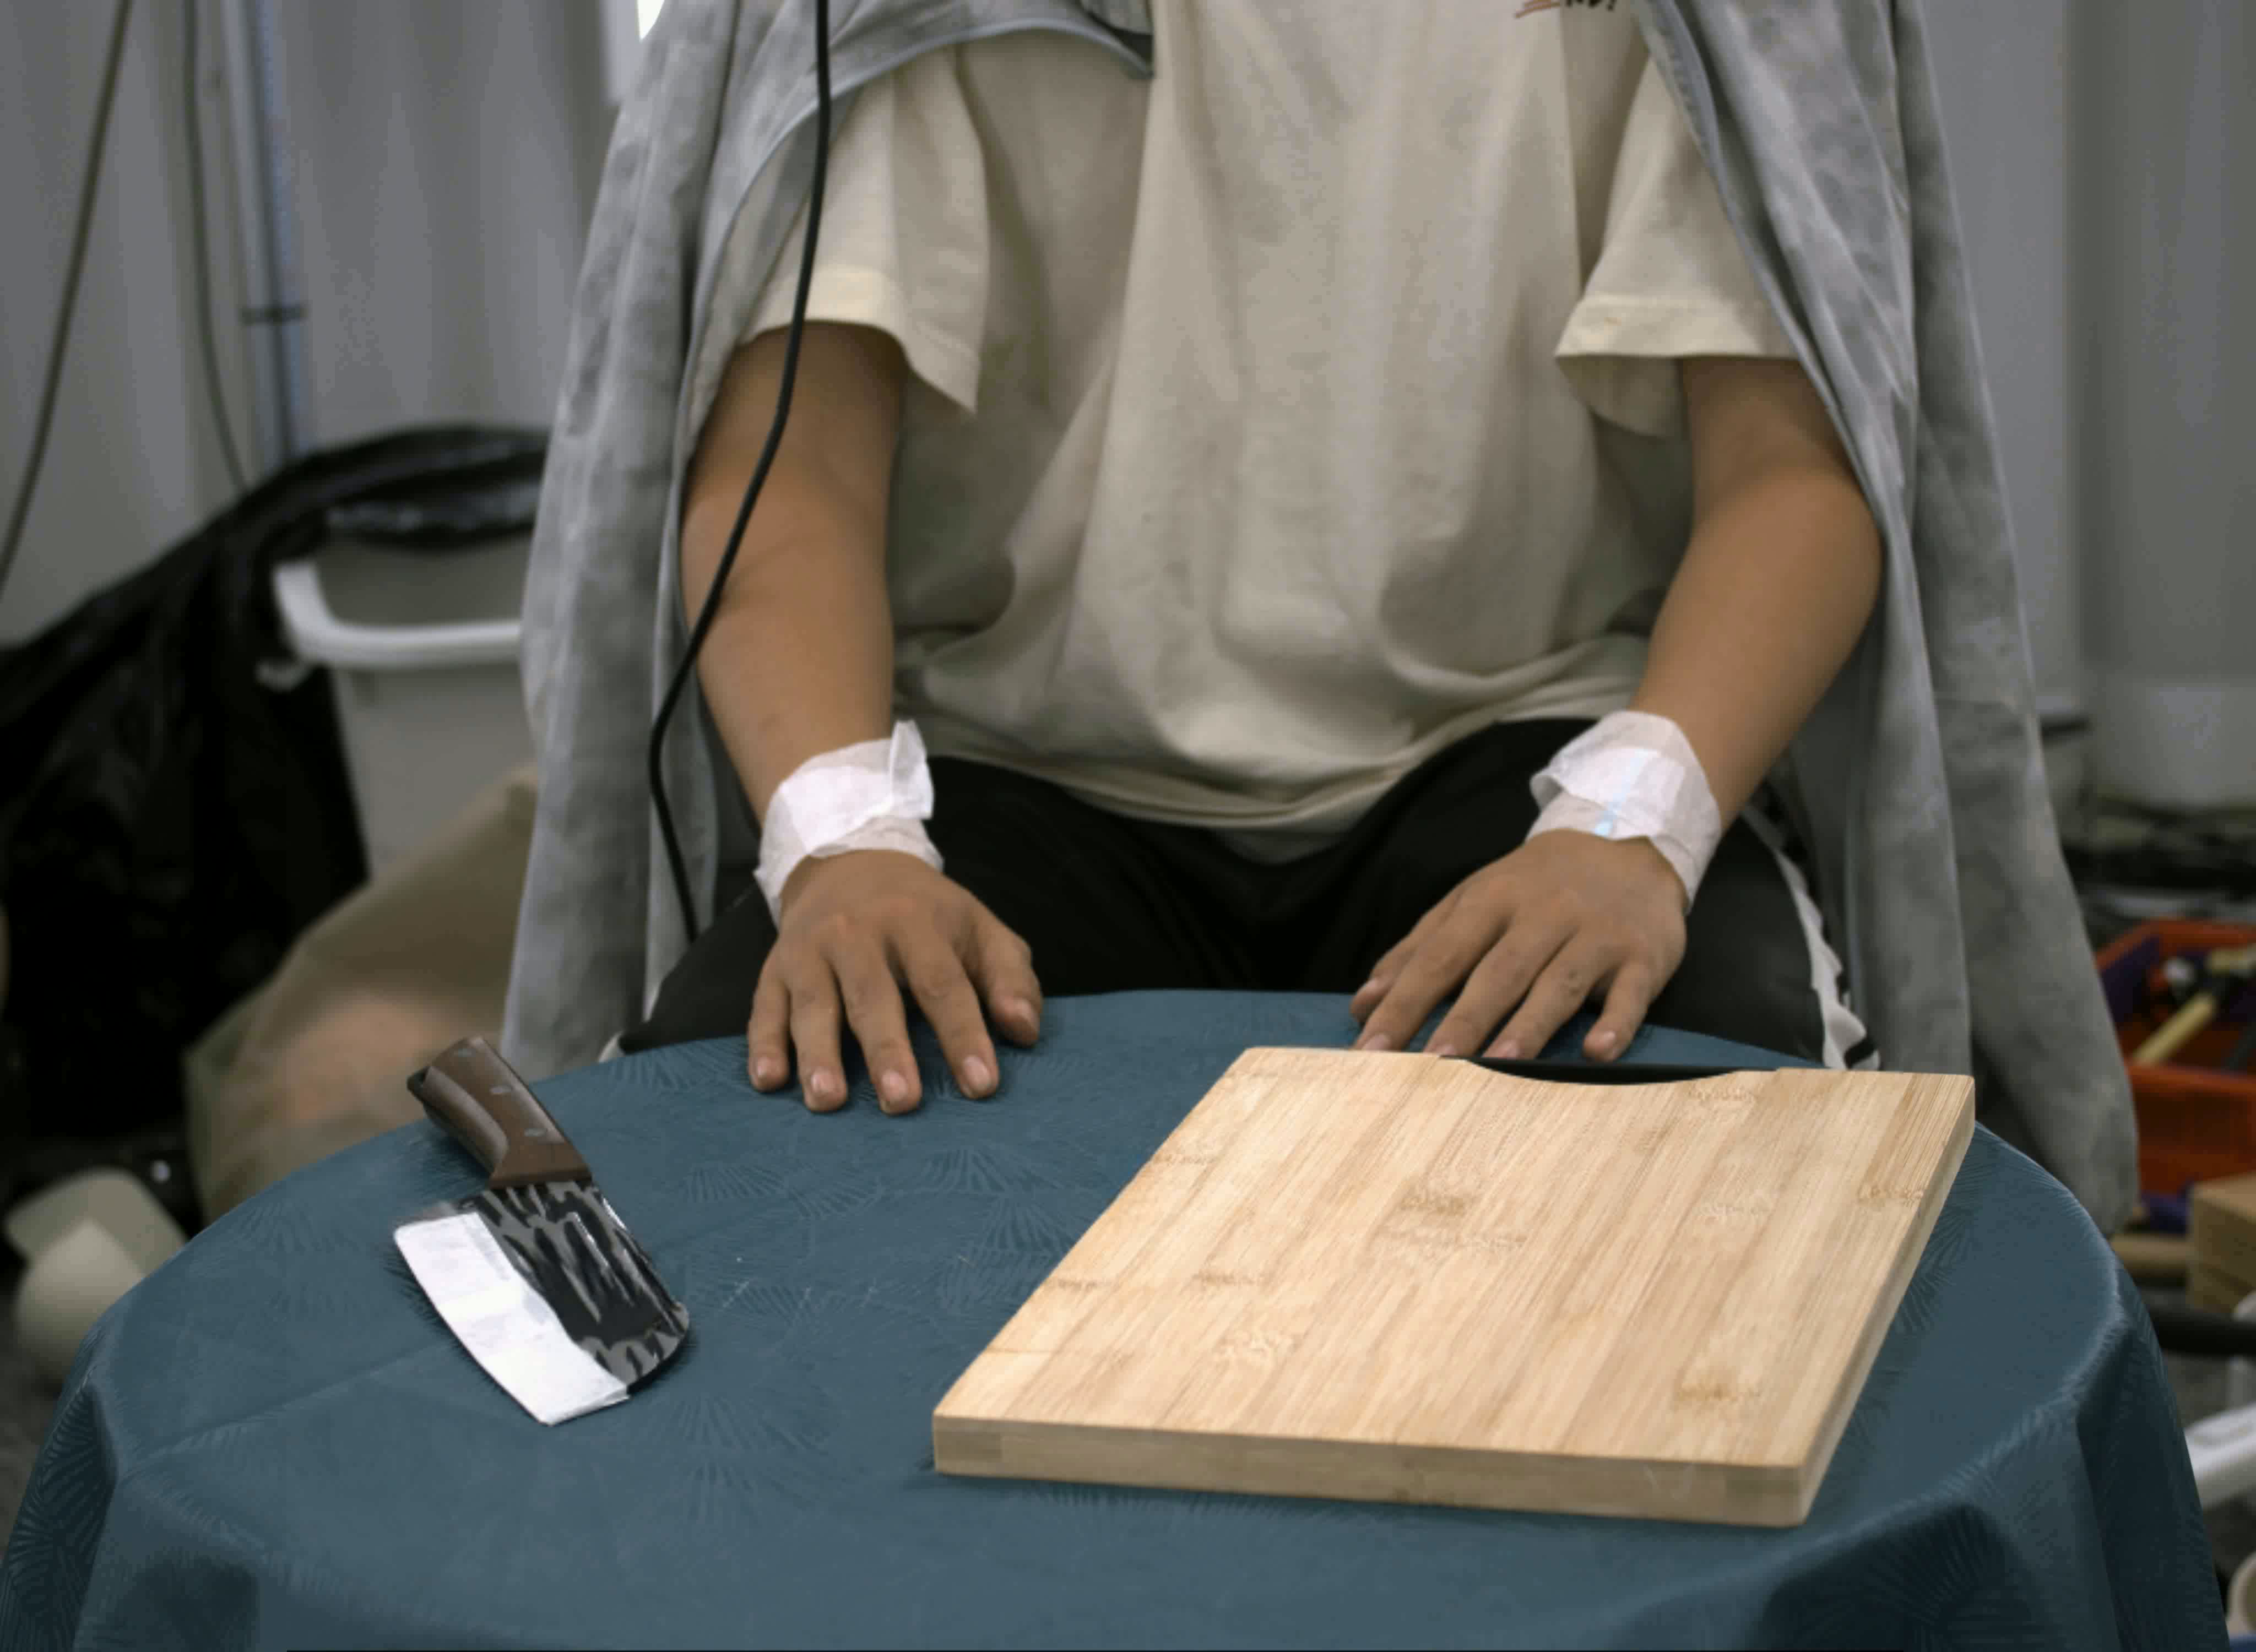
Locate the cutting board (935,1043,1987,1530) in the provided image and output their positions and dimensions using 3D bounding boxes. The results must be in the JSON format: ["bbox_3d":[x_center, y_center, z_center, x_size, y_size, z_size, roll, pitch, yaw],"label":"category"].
[{"bbox_3d":[0.109,0.128,1.618,0.250,0.023,0.350,2,15,15],"label":"cutting board"}]

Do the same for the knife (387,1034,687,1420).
[{"bbox_3d":[-0.190,0.123,1.686,0.068,0.024,0.302,-9,19,-16],"label":"knife"}]
